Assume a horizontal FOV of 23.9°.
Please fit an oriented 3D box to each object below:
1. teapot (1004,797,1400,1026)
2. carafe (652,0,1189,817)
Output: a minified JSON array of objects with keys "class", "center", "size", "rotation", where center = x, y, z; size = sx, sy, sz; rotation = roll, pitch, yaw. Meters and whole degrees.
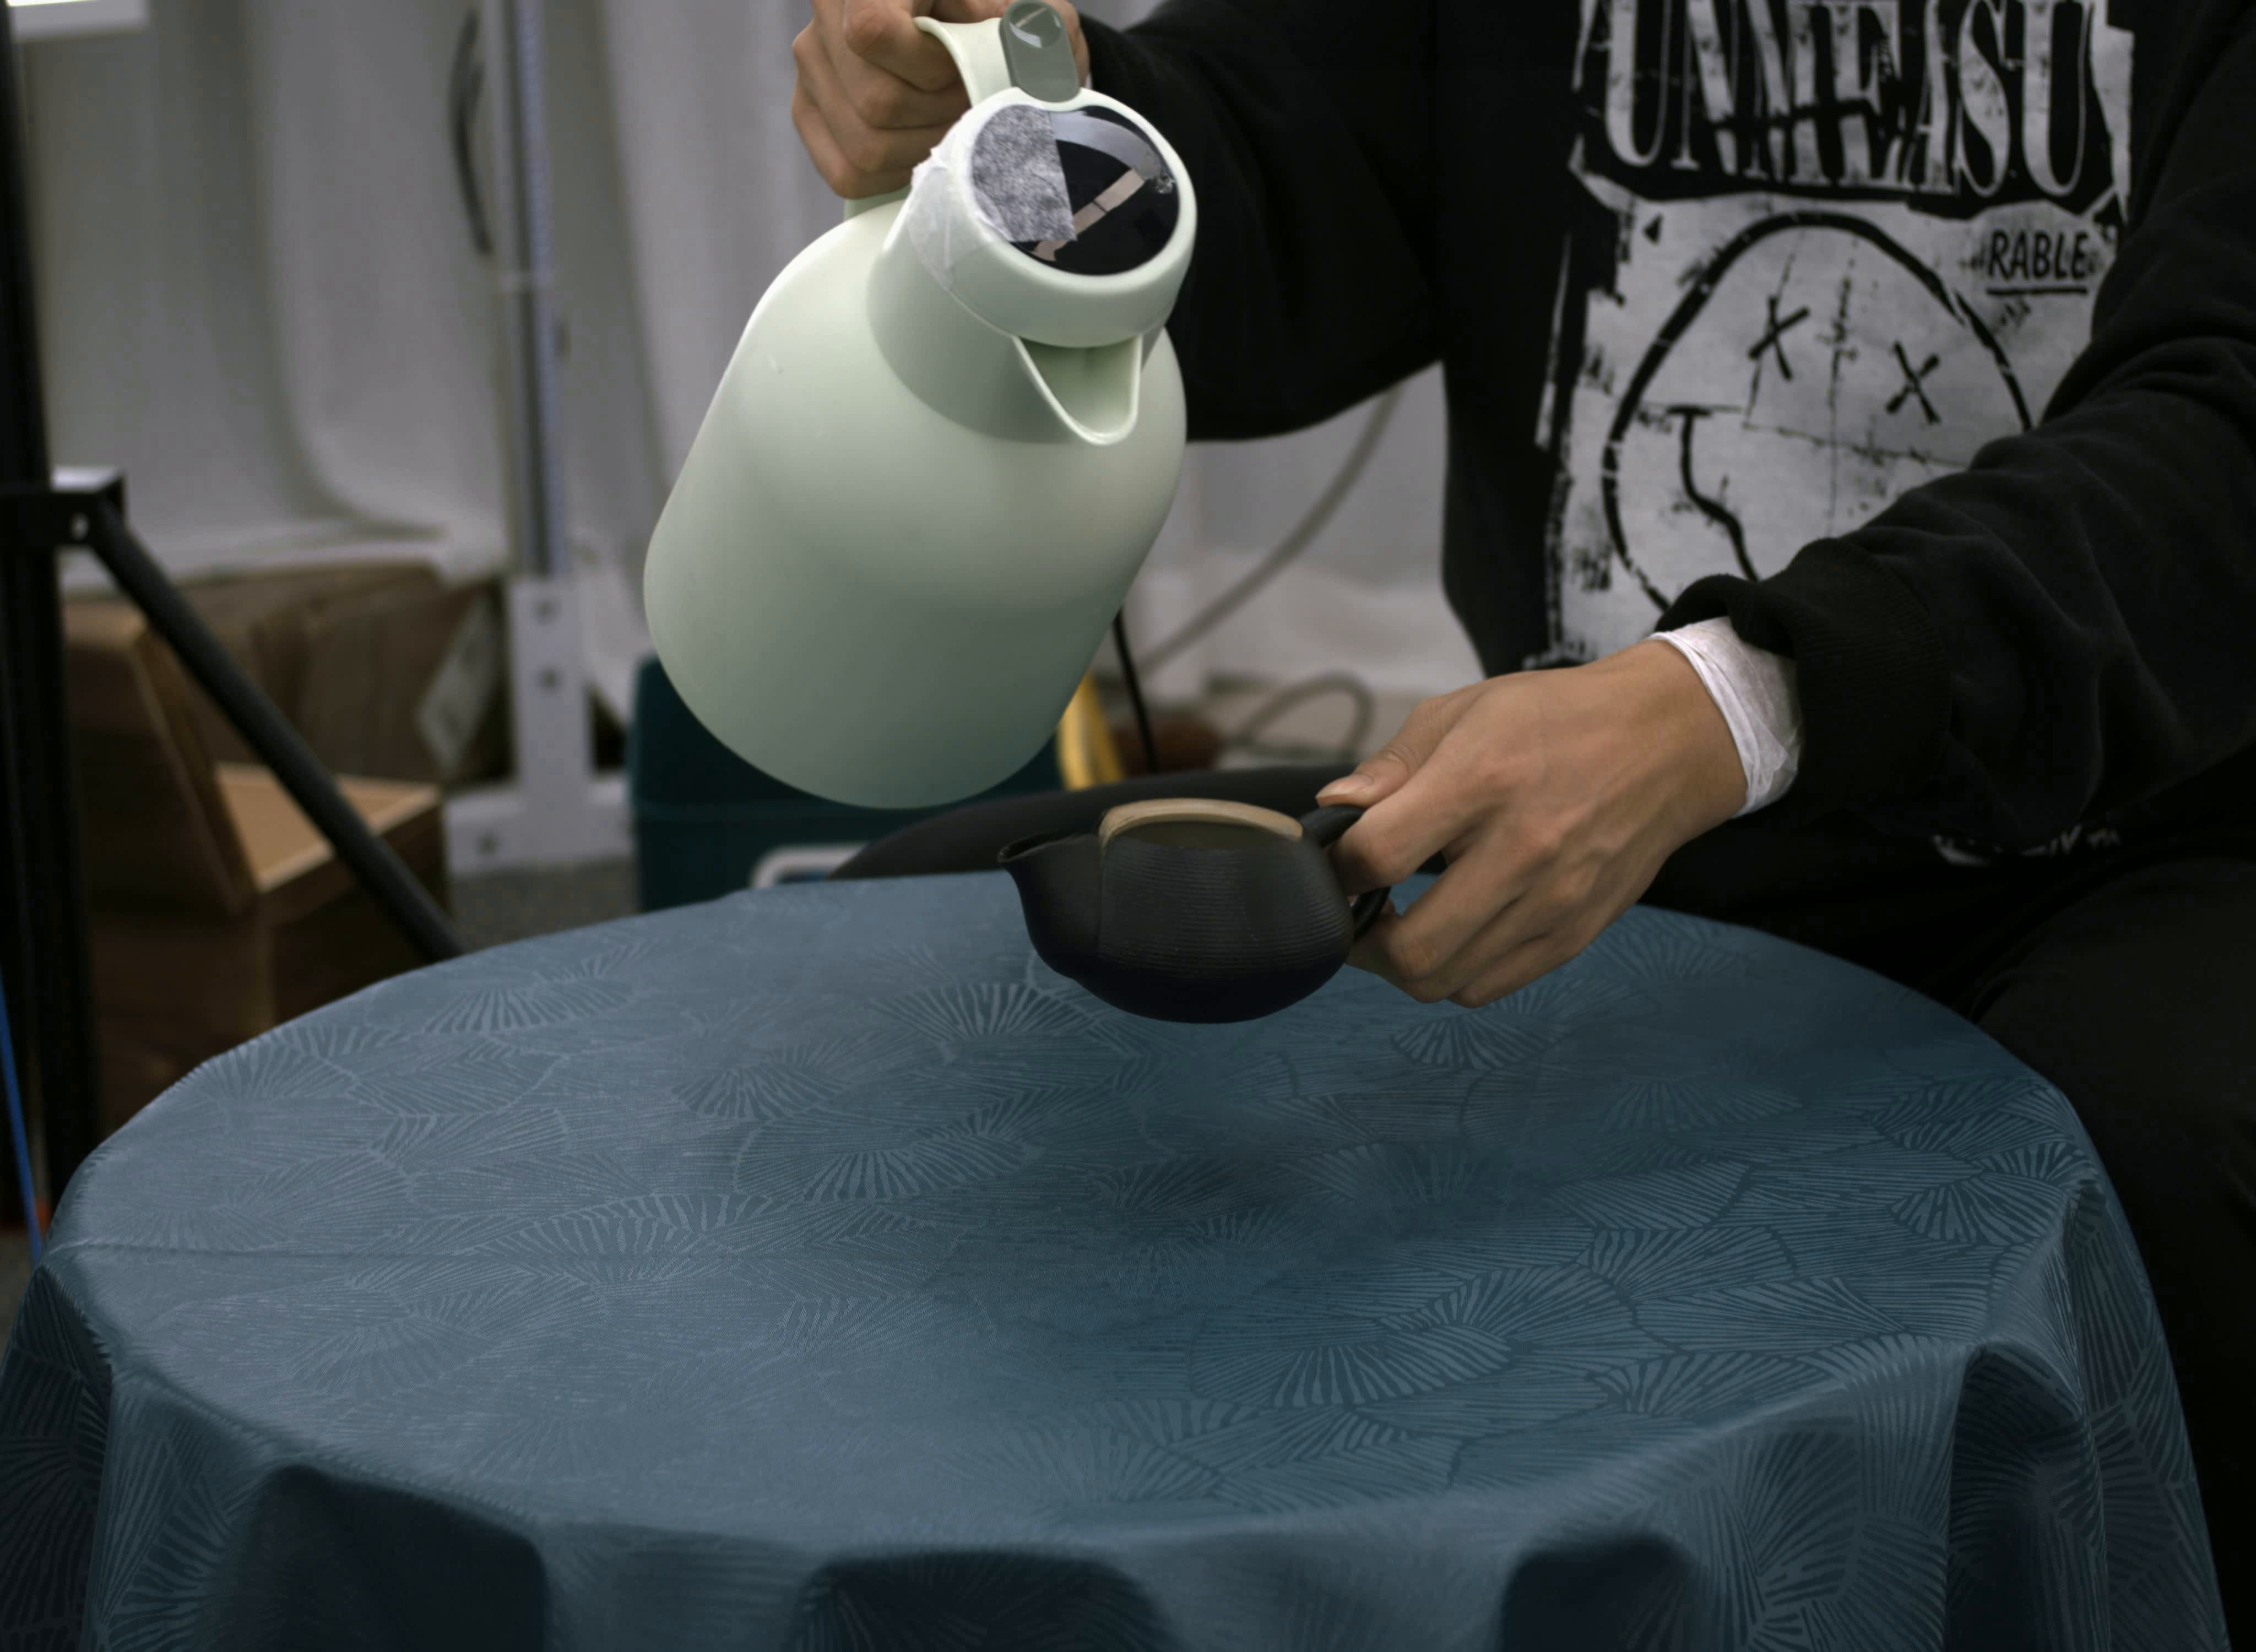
[{"class":"teapot","center":[0.022,0.024,1.527],"size":[0.130,0.053,0.093],"rotation":[-7,19,-29]},{"class":"carafe","center":[-0.056,-0.135,1.637],"size":[0.141,0.257,0.190],"rotation":[-3,57,-20]}]
